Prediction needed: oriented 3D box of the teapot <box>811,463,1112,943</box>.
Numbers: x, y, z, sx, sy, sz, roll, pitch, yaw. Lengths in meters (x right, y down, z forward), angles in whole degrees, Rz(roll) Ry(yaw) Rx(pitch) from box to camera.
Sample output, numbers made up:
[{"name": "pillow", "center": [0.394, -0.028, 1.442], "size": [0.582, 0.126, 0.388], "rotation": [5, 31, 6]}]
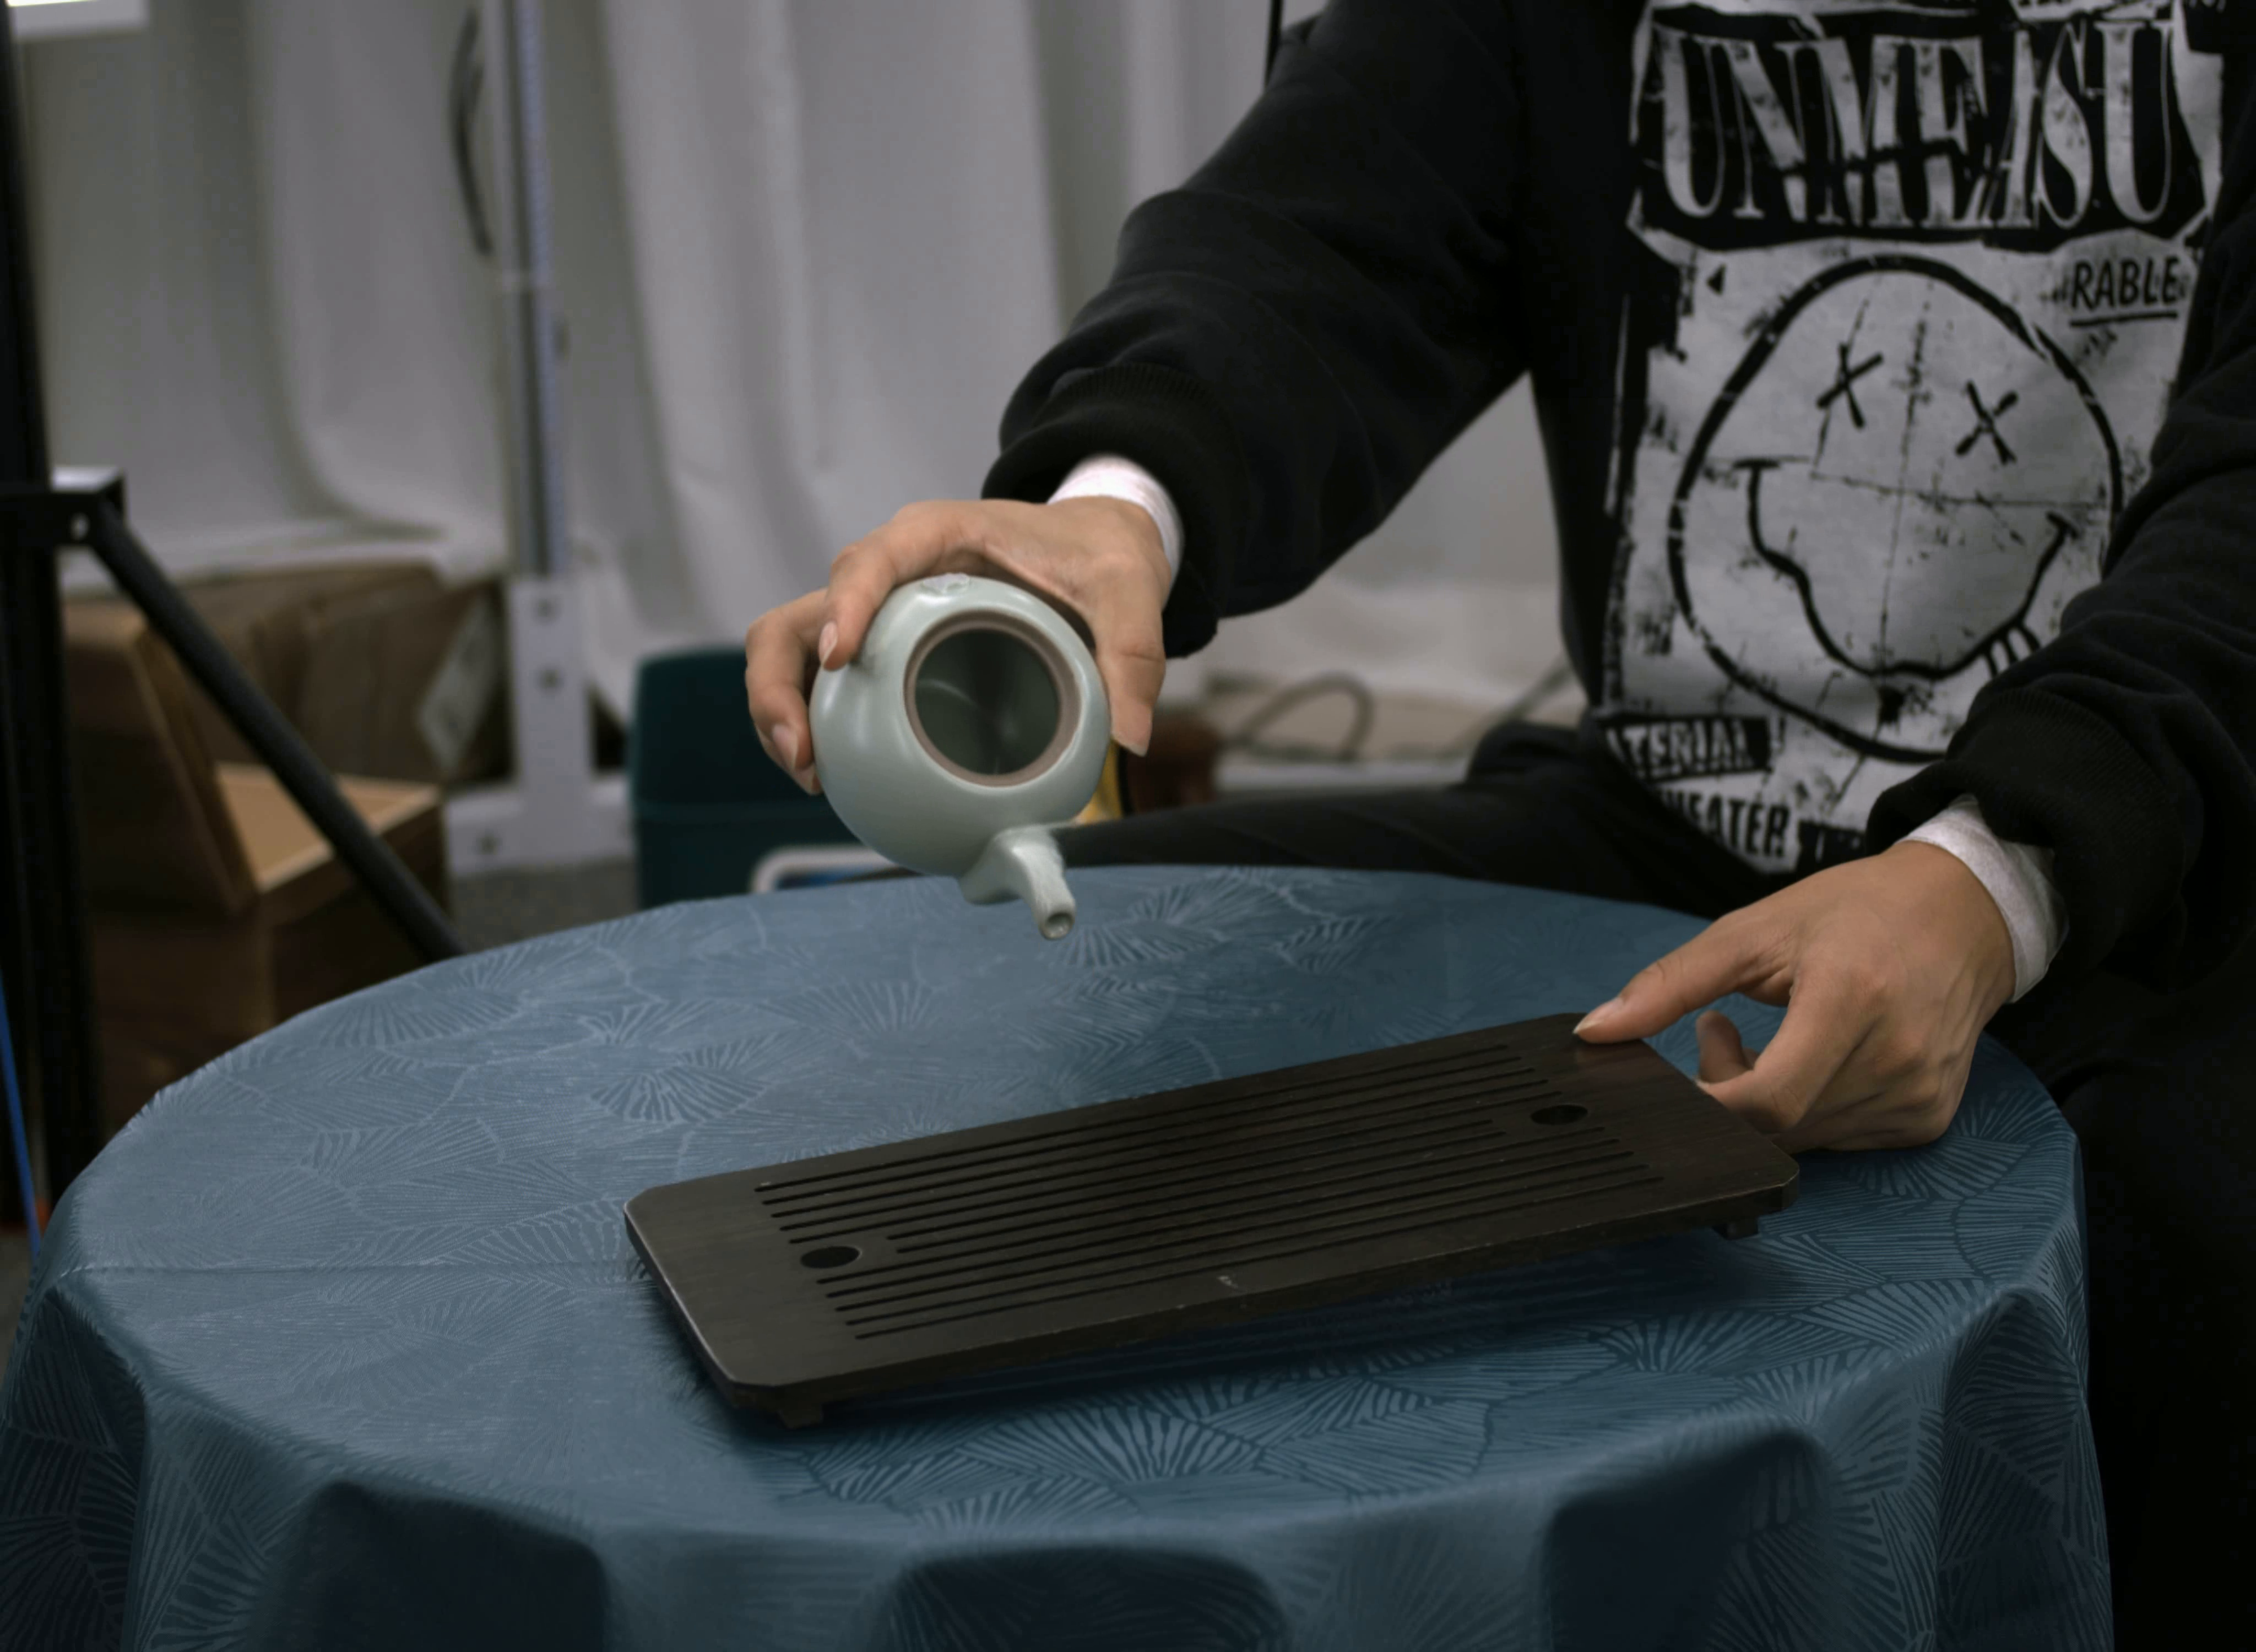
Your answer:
[{"name": "teapot", "center": [-0.048, -0.030, 1.542], "size": [0.086, 0.145, 0.075], "rotation": [-10, -9, -22]}]

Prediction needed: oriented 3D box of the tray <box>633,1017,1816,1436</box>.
[{"name": "tray", "center": [0.024, 0.110, 1.480], "size": [0.302, 0.018, 0.172], "rotation": [-10, 17, -12]}]
